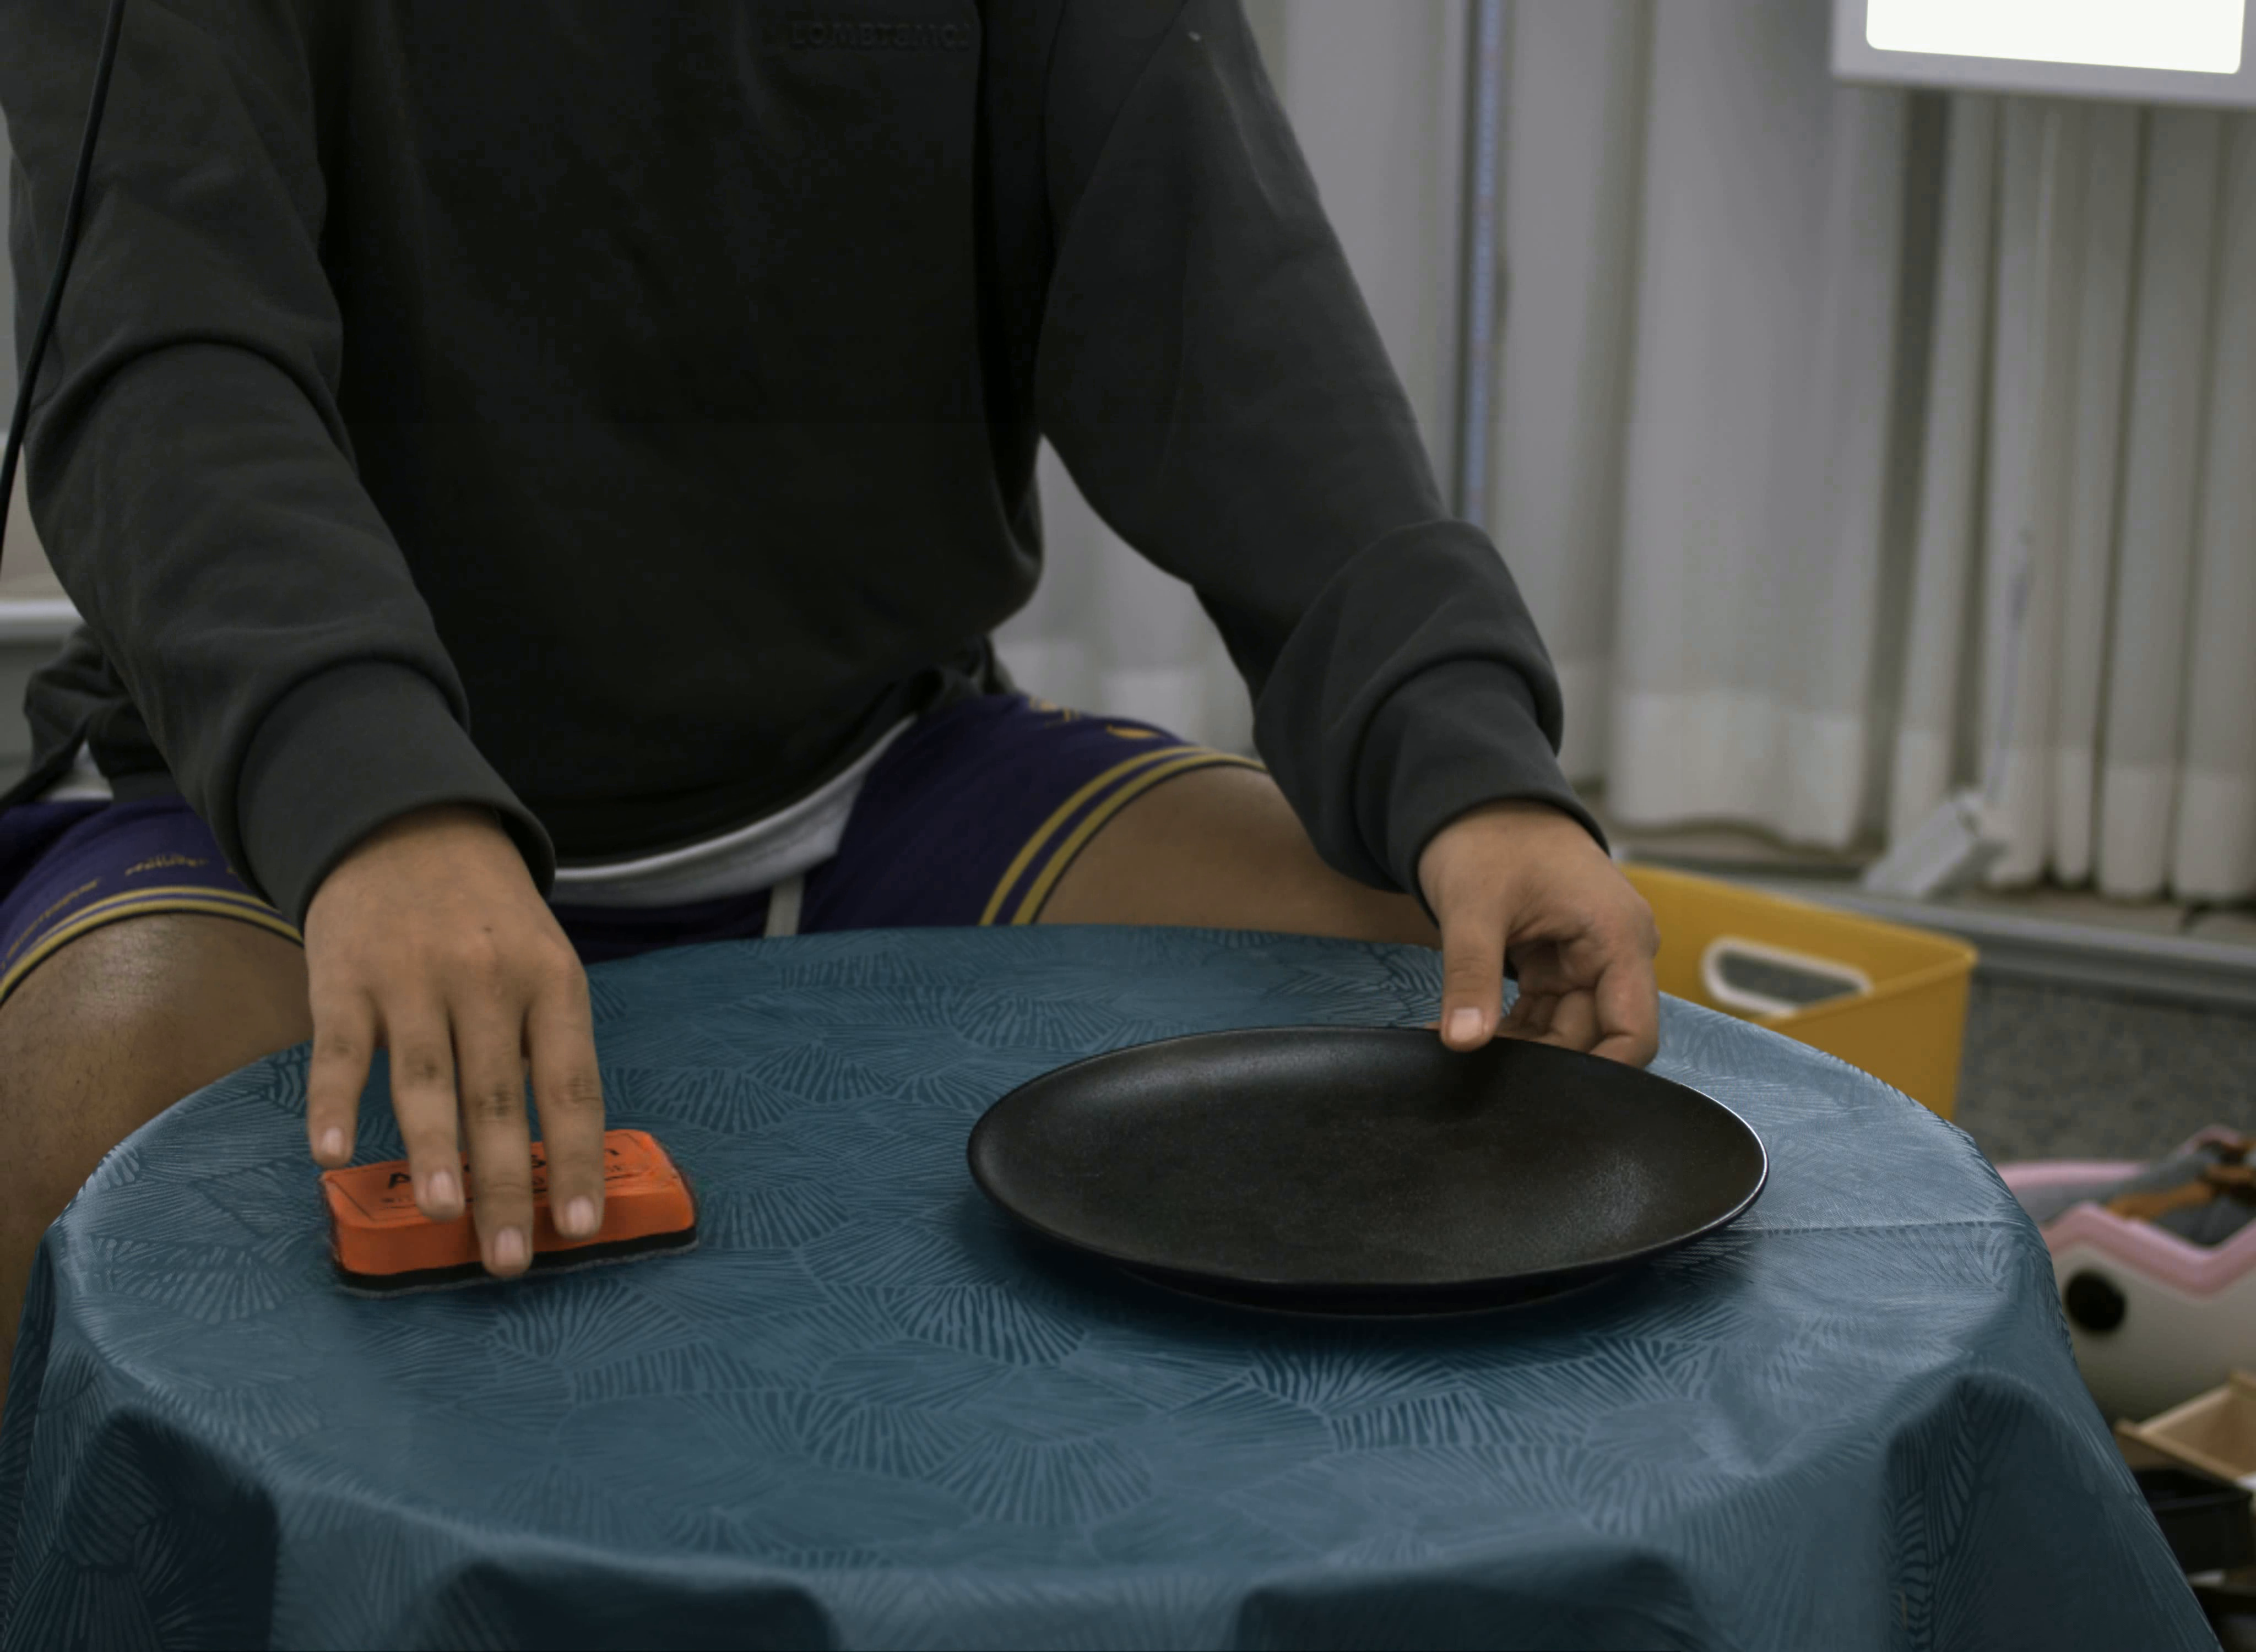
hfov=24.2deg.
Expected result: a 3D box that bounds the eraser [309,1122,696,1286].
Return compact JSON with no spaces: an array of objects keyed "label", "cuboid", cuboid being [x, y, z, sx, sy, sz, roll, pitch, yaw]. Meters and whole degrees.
[{"label":"eraser","cuboid":[-0.186,0.111,1.563,0.108,0.023,0.058,-5,18,-26]}]

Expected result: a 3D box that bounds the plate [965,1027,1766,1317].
[{"label":"plate","cuboid":[0.072,0.107,1.601,0.243,0.023,0.243,1,16,0]}]
